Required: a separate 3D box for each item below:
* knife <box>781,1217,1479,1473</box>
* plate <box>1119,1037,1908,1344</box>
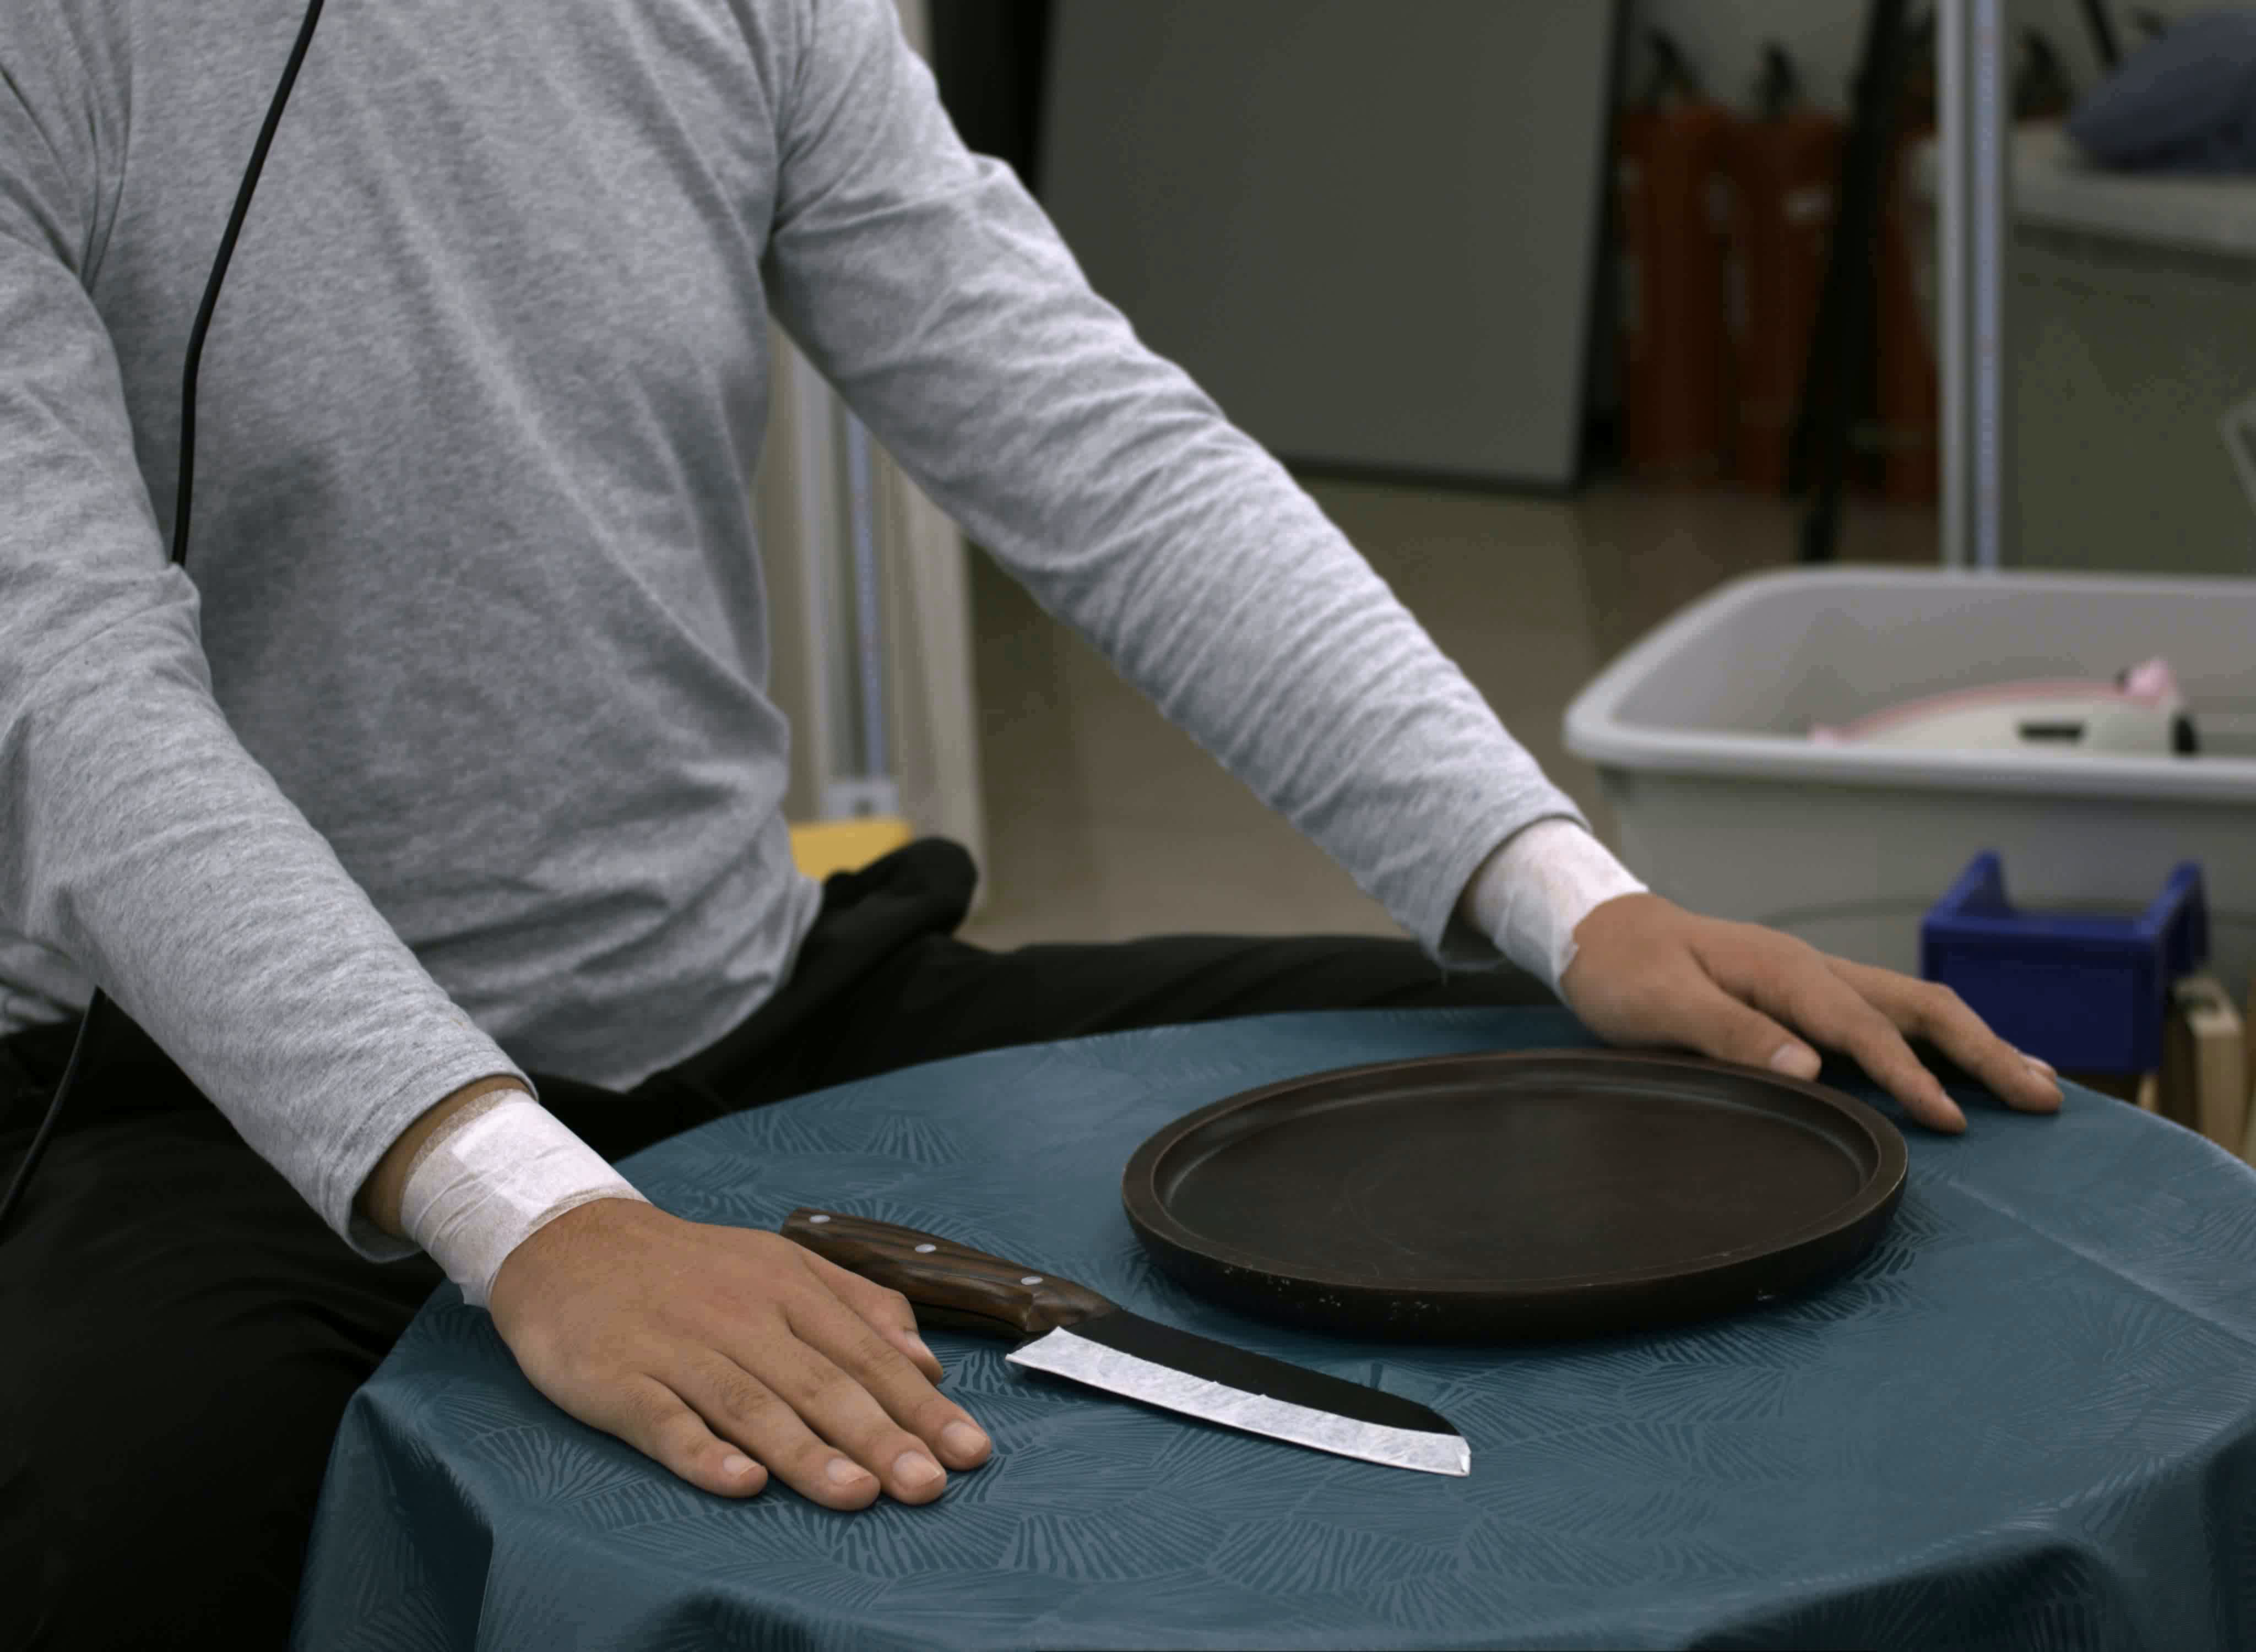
[{"bbox_3d":[-0.004,0.156,1.603,0.049,0.020,0.292,-23,25,-40],"label":"knife"},{"bbox_3d":[0.122,0.116,1.709,0.251,0.029,0.255,-6,14,1],"label":"plate"}]
